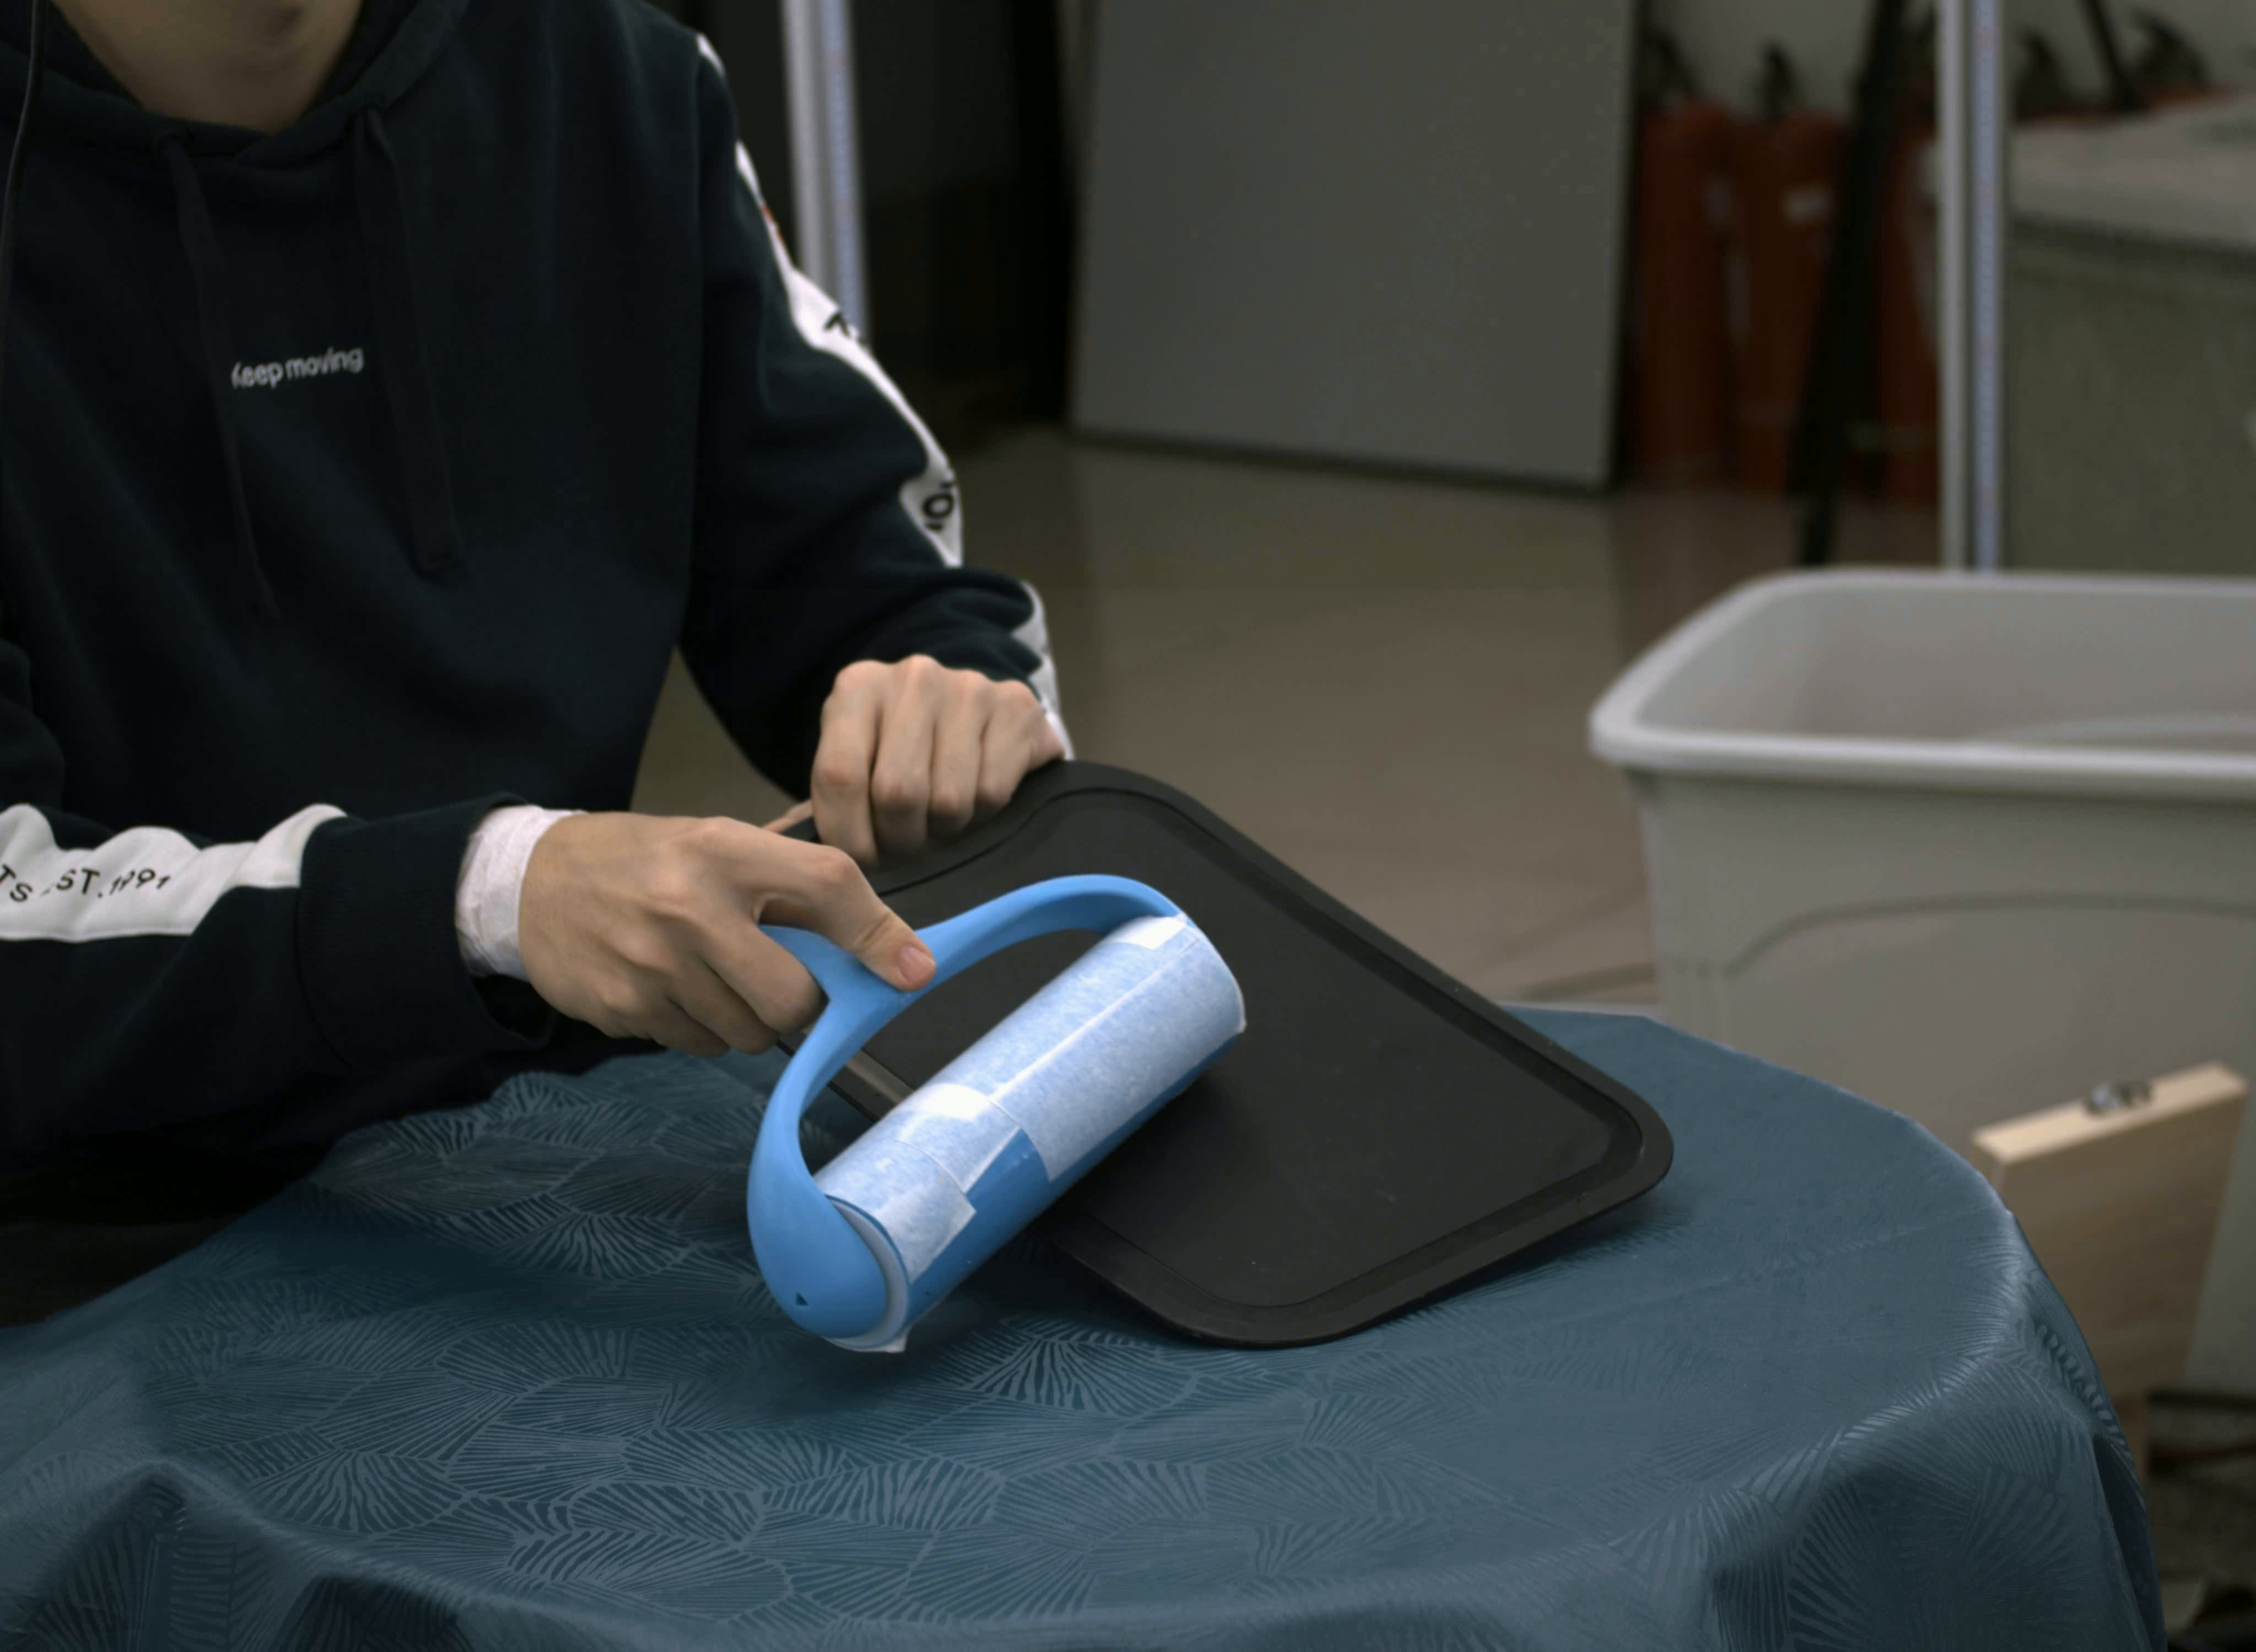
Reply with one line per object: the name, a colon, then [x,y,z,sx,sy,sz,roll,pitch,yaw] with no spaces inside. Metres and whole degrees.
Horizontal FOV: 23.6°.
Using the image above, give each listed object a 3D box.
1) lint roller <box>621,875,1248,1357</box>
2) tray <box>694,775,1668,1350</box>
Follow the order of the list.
lint roller: [-0.083,0.069,1.688,0.180,0.068,0.226,24,38,21]
tray: [0.008,0.066,1.760,0.207,0.010,0.329,-21,39,-35]
